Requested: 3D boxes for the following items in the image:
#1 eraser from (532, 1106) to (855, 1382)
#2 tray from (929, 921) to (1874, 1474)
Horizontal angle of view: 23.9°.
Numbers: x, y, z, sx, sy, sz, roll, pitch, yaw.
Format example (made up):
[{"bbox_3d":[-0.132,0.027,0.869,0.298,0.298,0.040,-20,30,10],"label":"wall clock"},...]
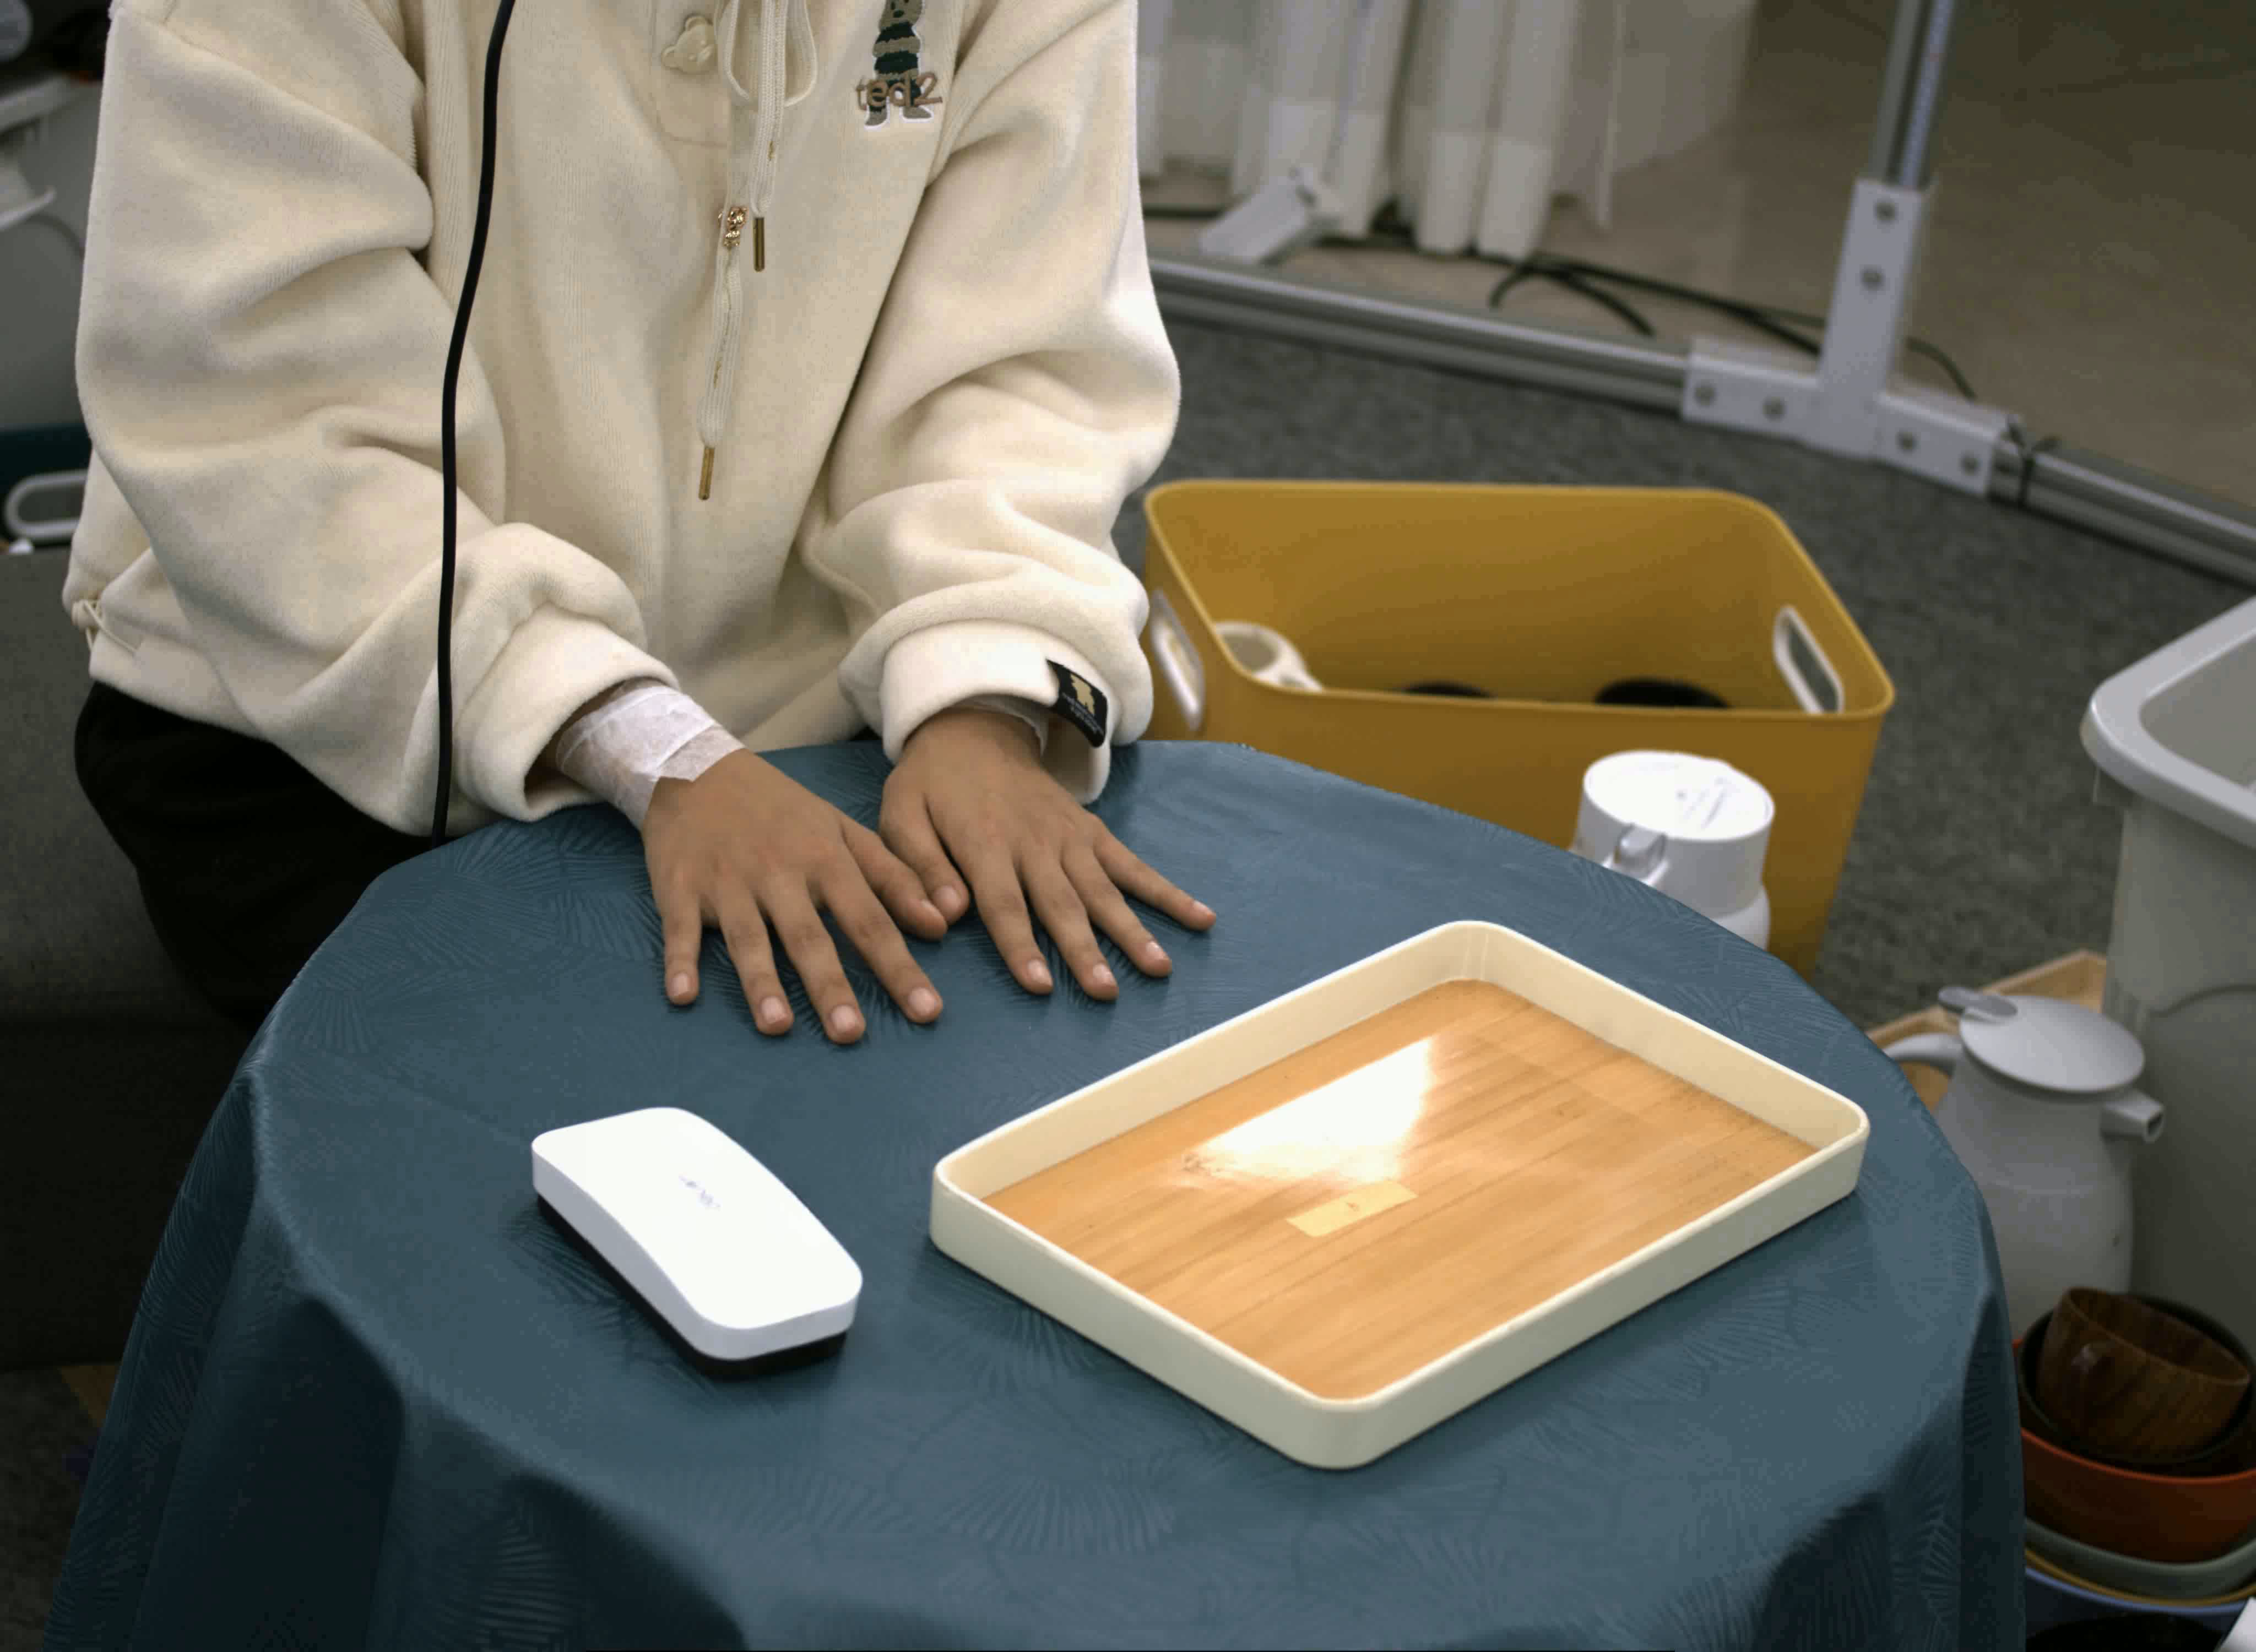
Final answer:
[{"bbox_3d":[-0.141,0.131,1.722,0.063,0.034,0.132,-12,33,-30],"label":"eraser"},{"bbox_3d":[0.096,0.120,1.802,0.193,0.027,0.299,28,34,35],"label":"tray"}]
